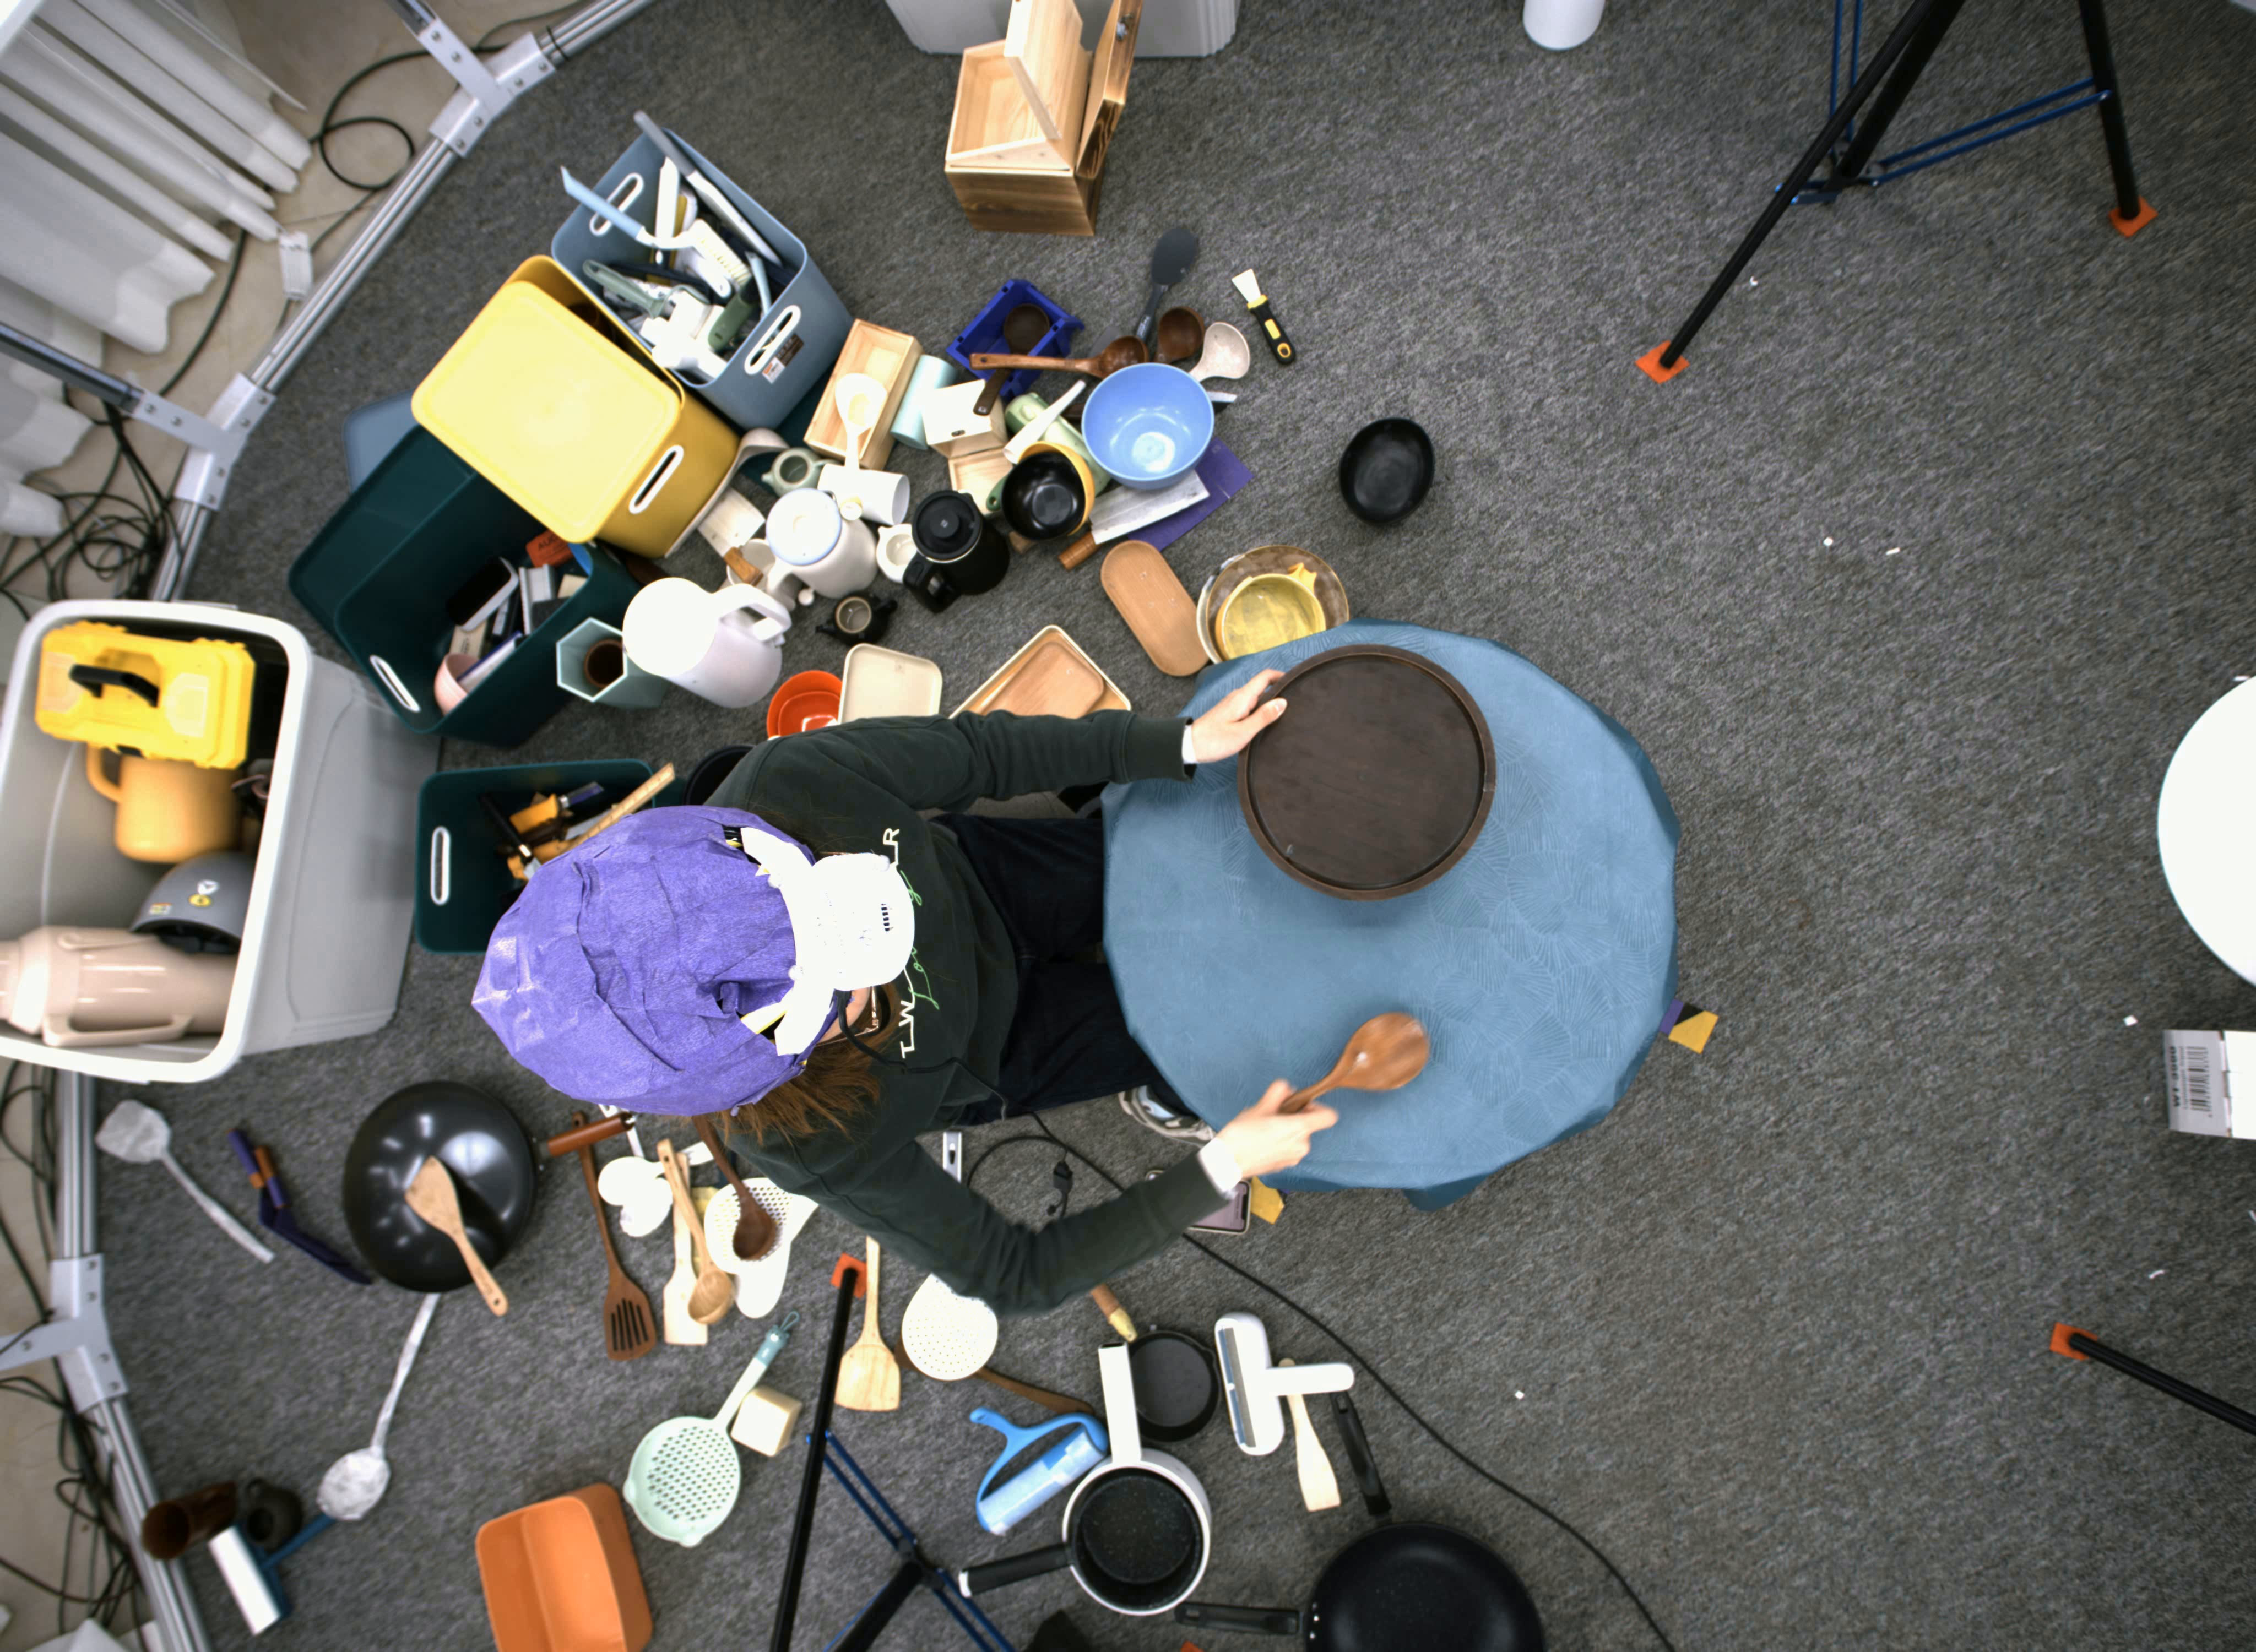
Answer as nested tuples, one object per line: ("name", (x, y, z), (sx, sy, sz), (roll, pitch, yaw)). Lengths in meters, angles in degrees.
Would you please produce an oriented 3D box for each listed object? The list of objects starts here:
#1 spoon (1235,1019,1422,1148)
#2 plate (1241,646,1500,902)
("spoon", (0.202, 0.261, 1.388), (0.214, 0.017, 0.075), (-27, 85, -14))
("plate", (0.237, -0.052, 1.359), (0.256, 0.029, 0.254), (0, 90, 15))
